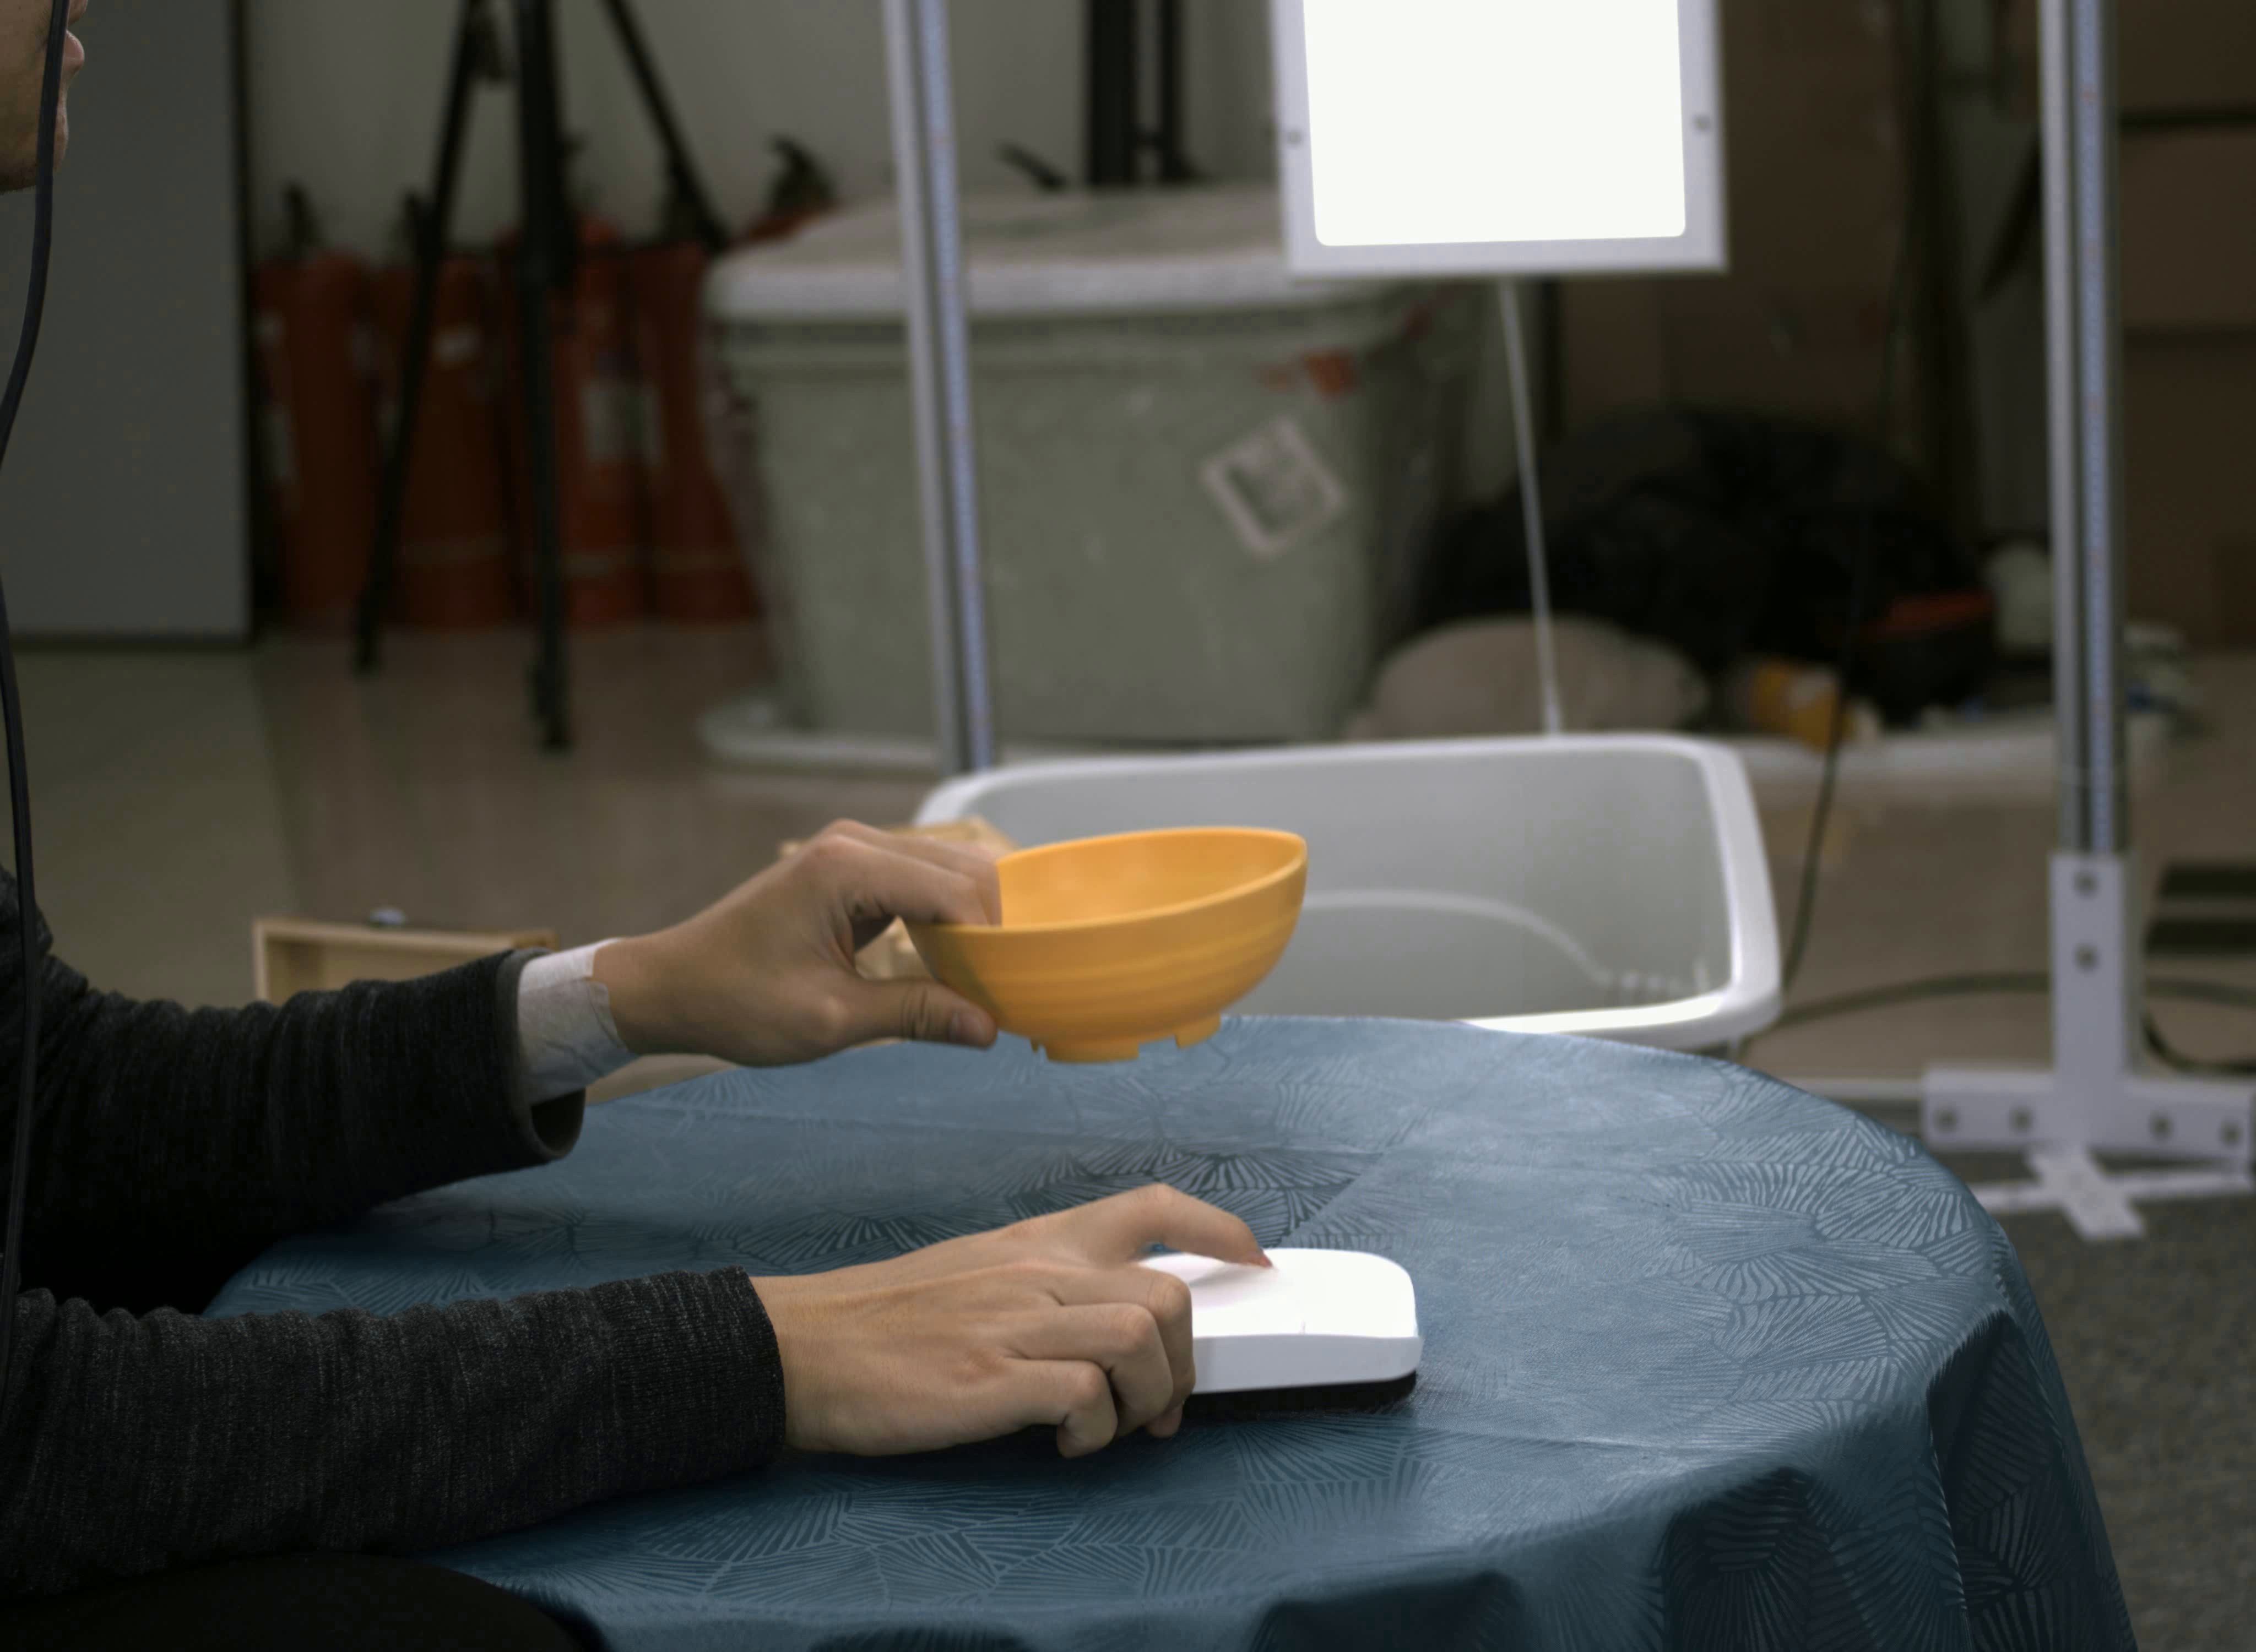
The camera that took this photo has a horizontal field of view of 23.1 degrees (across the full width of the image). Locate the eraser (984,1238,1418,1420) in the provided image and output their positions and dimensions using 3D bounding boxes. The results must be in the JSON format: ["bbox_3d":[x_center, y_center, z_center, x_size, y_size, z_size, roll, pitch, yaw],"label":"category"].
[{"bbox_3d":[0.022,0.153,1.681,0.131,0.035,0.063,-2,19,-1],"label":"eraser"}]

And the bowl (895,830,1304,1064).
[{"bbox_3d":[-0.005,0.045,1.894,0.145,0.060,0.145,-11,9,0],"label":"bowl"}]
